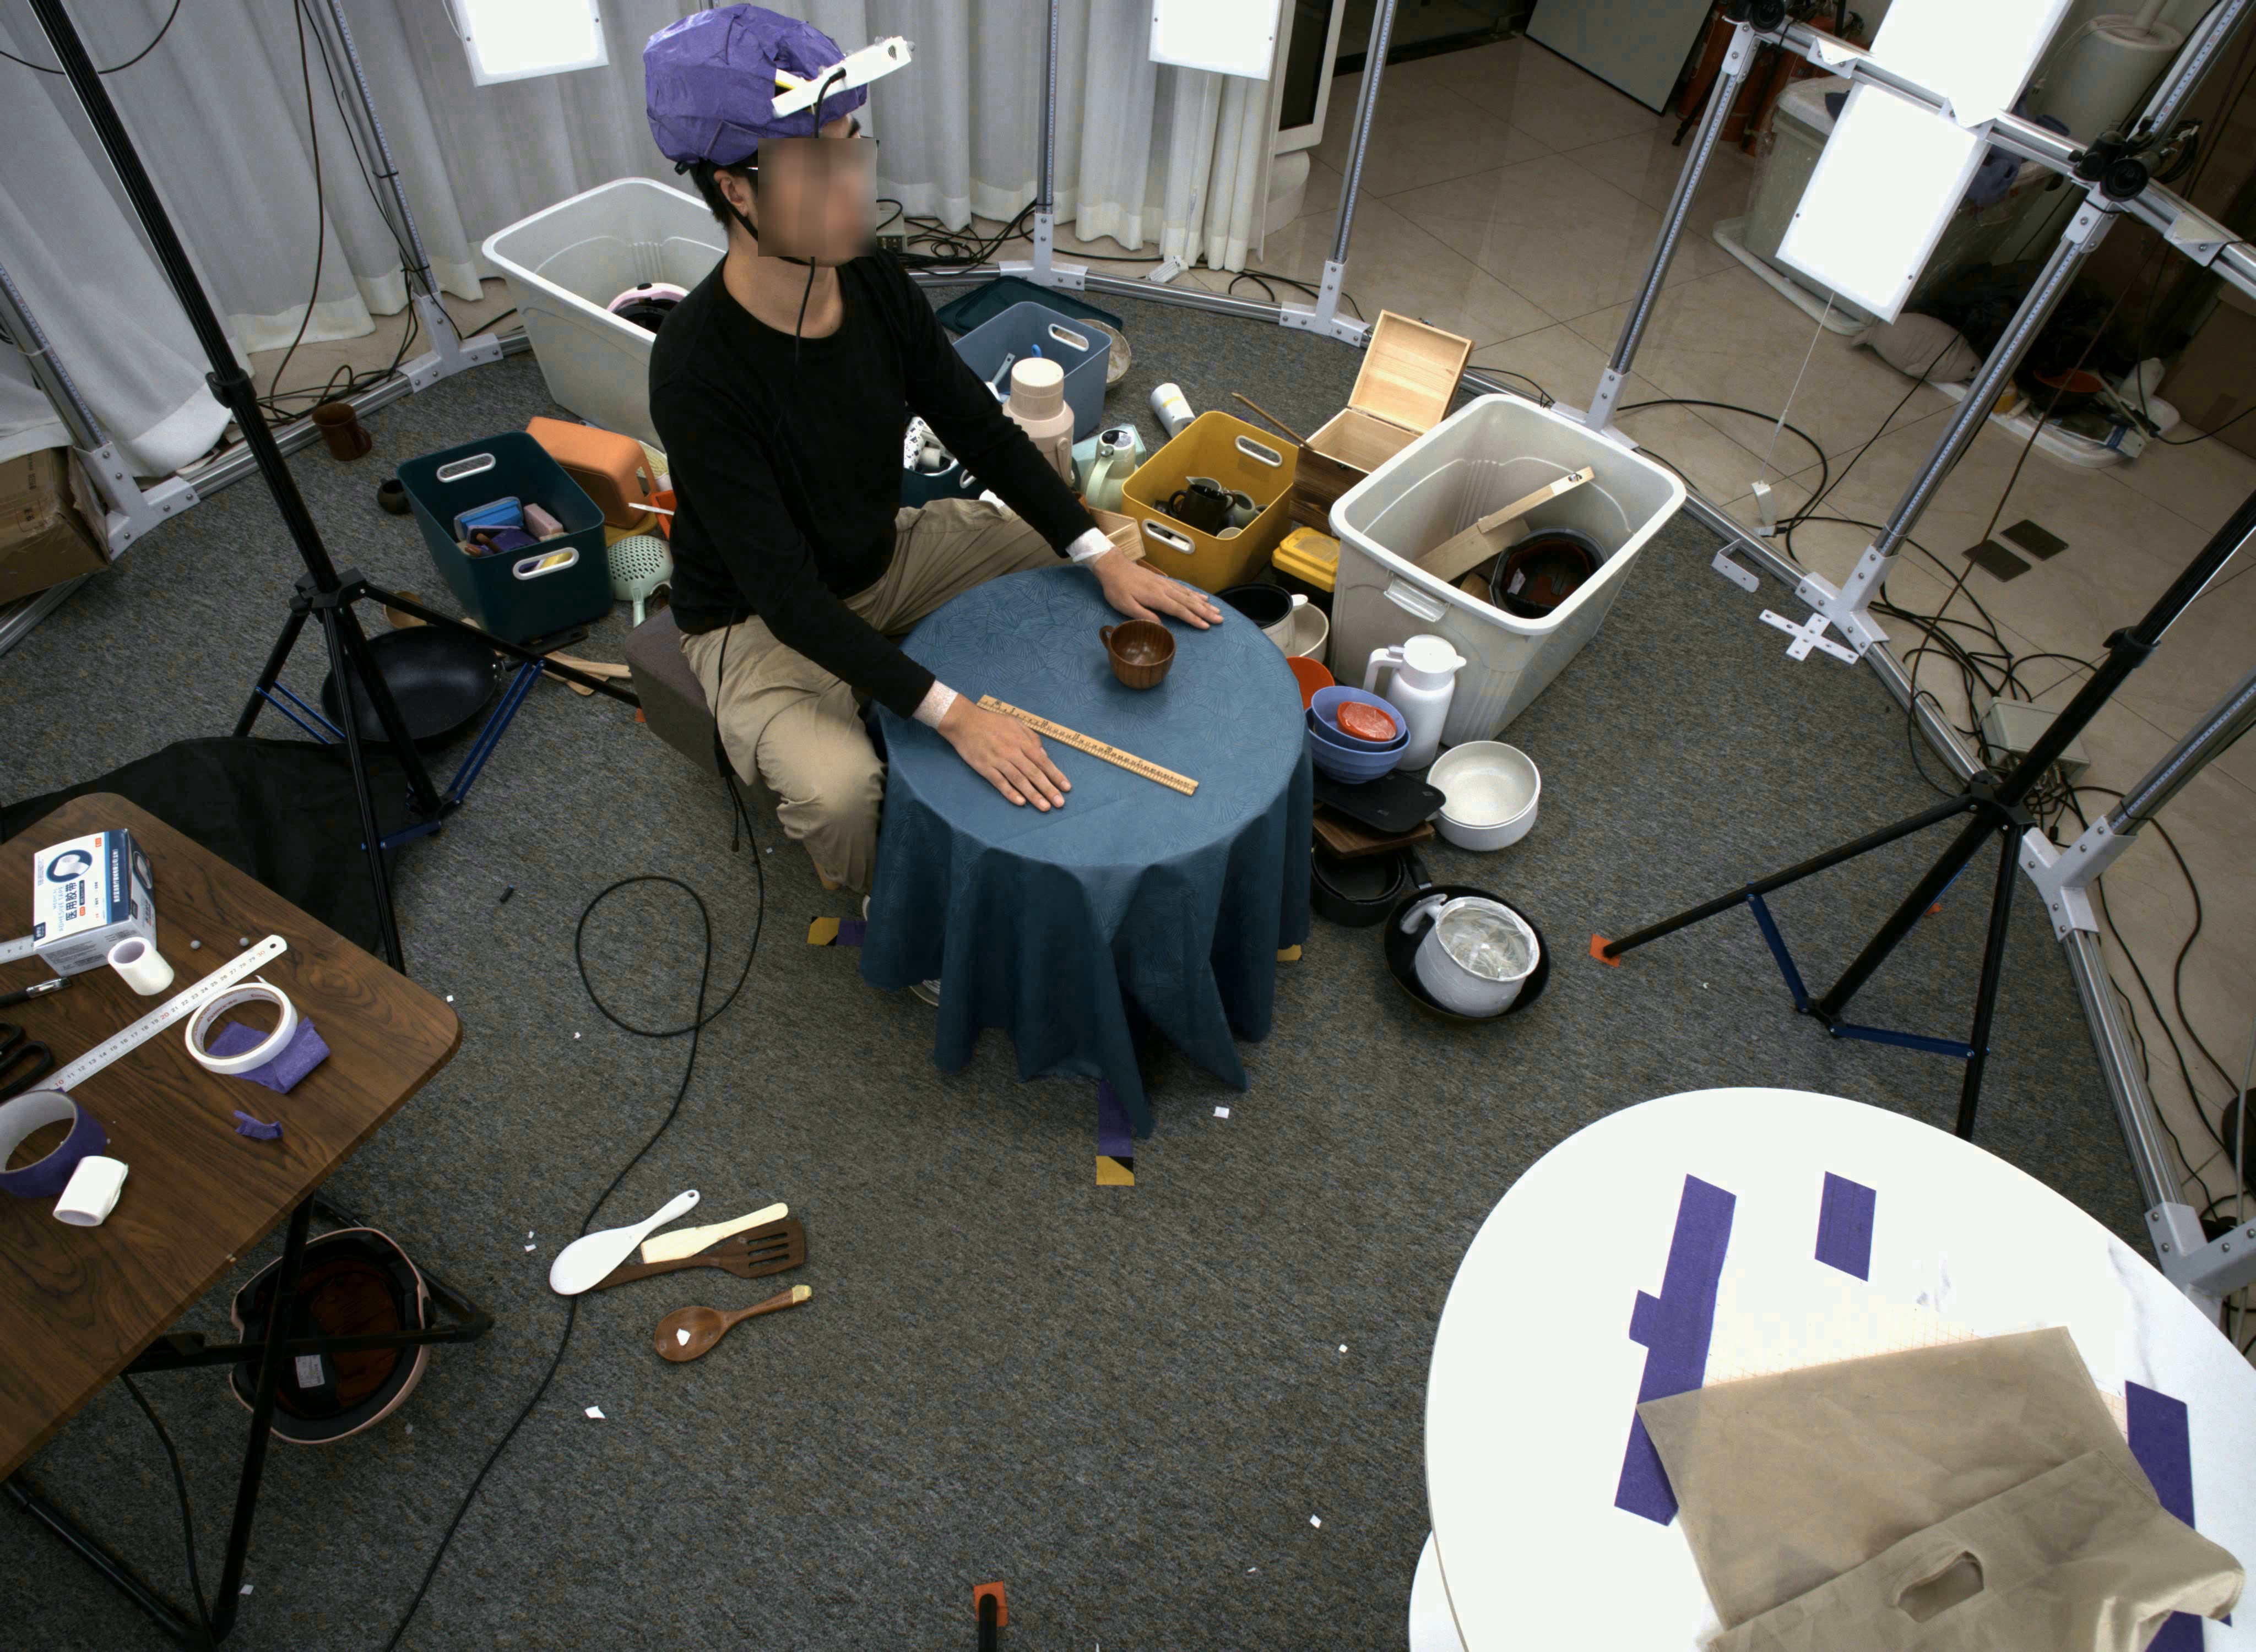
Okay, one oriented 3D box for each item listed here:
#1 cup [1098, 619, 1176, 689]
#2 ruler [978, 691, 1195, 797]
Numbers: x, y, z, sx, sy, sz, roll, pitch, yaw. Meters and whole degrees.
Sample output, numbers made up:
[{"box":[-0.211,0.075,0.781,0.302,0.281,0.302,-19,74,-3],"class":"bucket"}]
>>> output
[{"box":[0.010,-0.246,1.842,0.121,0.066,0.097,28,55,21],"class":"cup"},{"box":[-0.060,-0.117,1.761,0.334,0.021,0.028,25,47,16],"class":"ruler"}]
